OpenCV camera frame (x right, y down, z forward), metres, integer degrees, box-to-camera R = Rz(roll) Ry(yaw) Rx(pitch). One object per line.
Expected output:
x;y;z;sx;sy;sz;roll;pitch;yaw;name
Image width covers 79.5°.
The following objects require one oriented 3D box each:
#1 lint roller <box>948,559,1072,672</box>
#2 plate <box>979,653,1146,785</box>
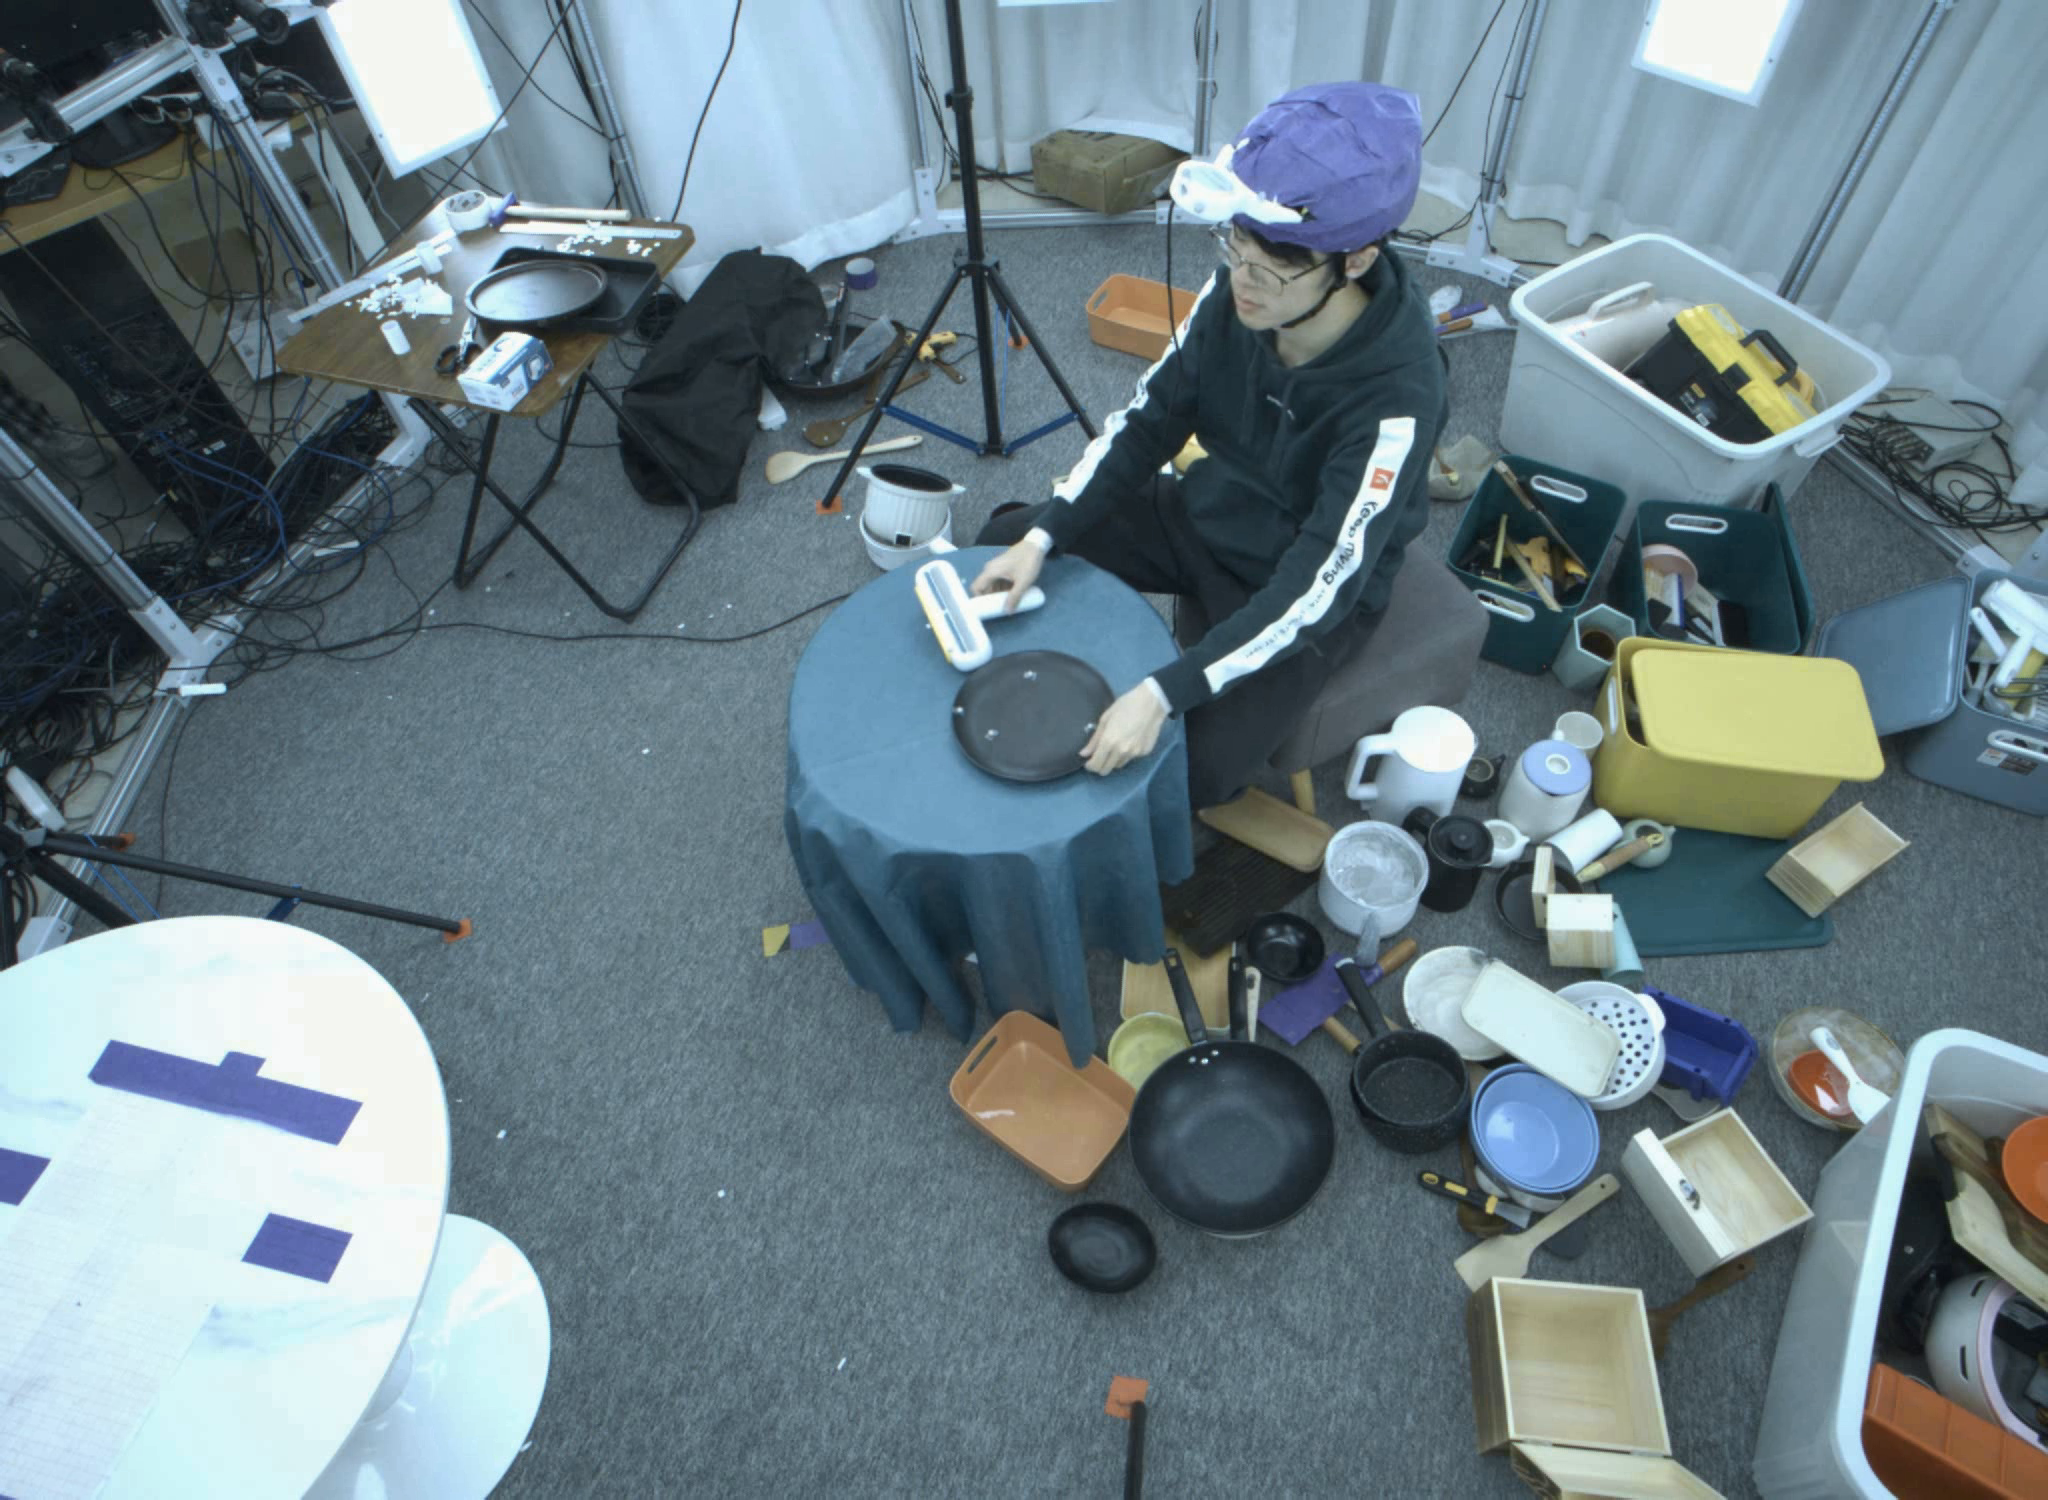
-0.012;-0.210;1.913;0.195;0.074;0.190;-8;61;-21;lint roller
0.056;-0.044;1.798;0.244;0.024;0.242;-1;54;2;plate
